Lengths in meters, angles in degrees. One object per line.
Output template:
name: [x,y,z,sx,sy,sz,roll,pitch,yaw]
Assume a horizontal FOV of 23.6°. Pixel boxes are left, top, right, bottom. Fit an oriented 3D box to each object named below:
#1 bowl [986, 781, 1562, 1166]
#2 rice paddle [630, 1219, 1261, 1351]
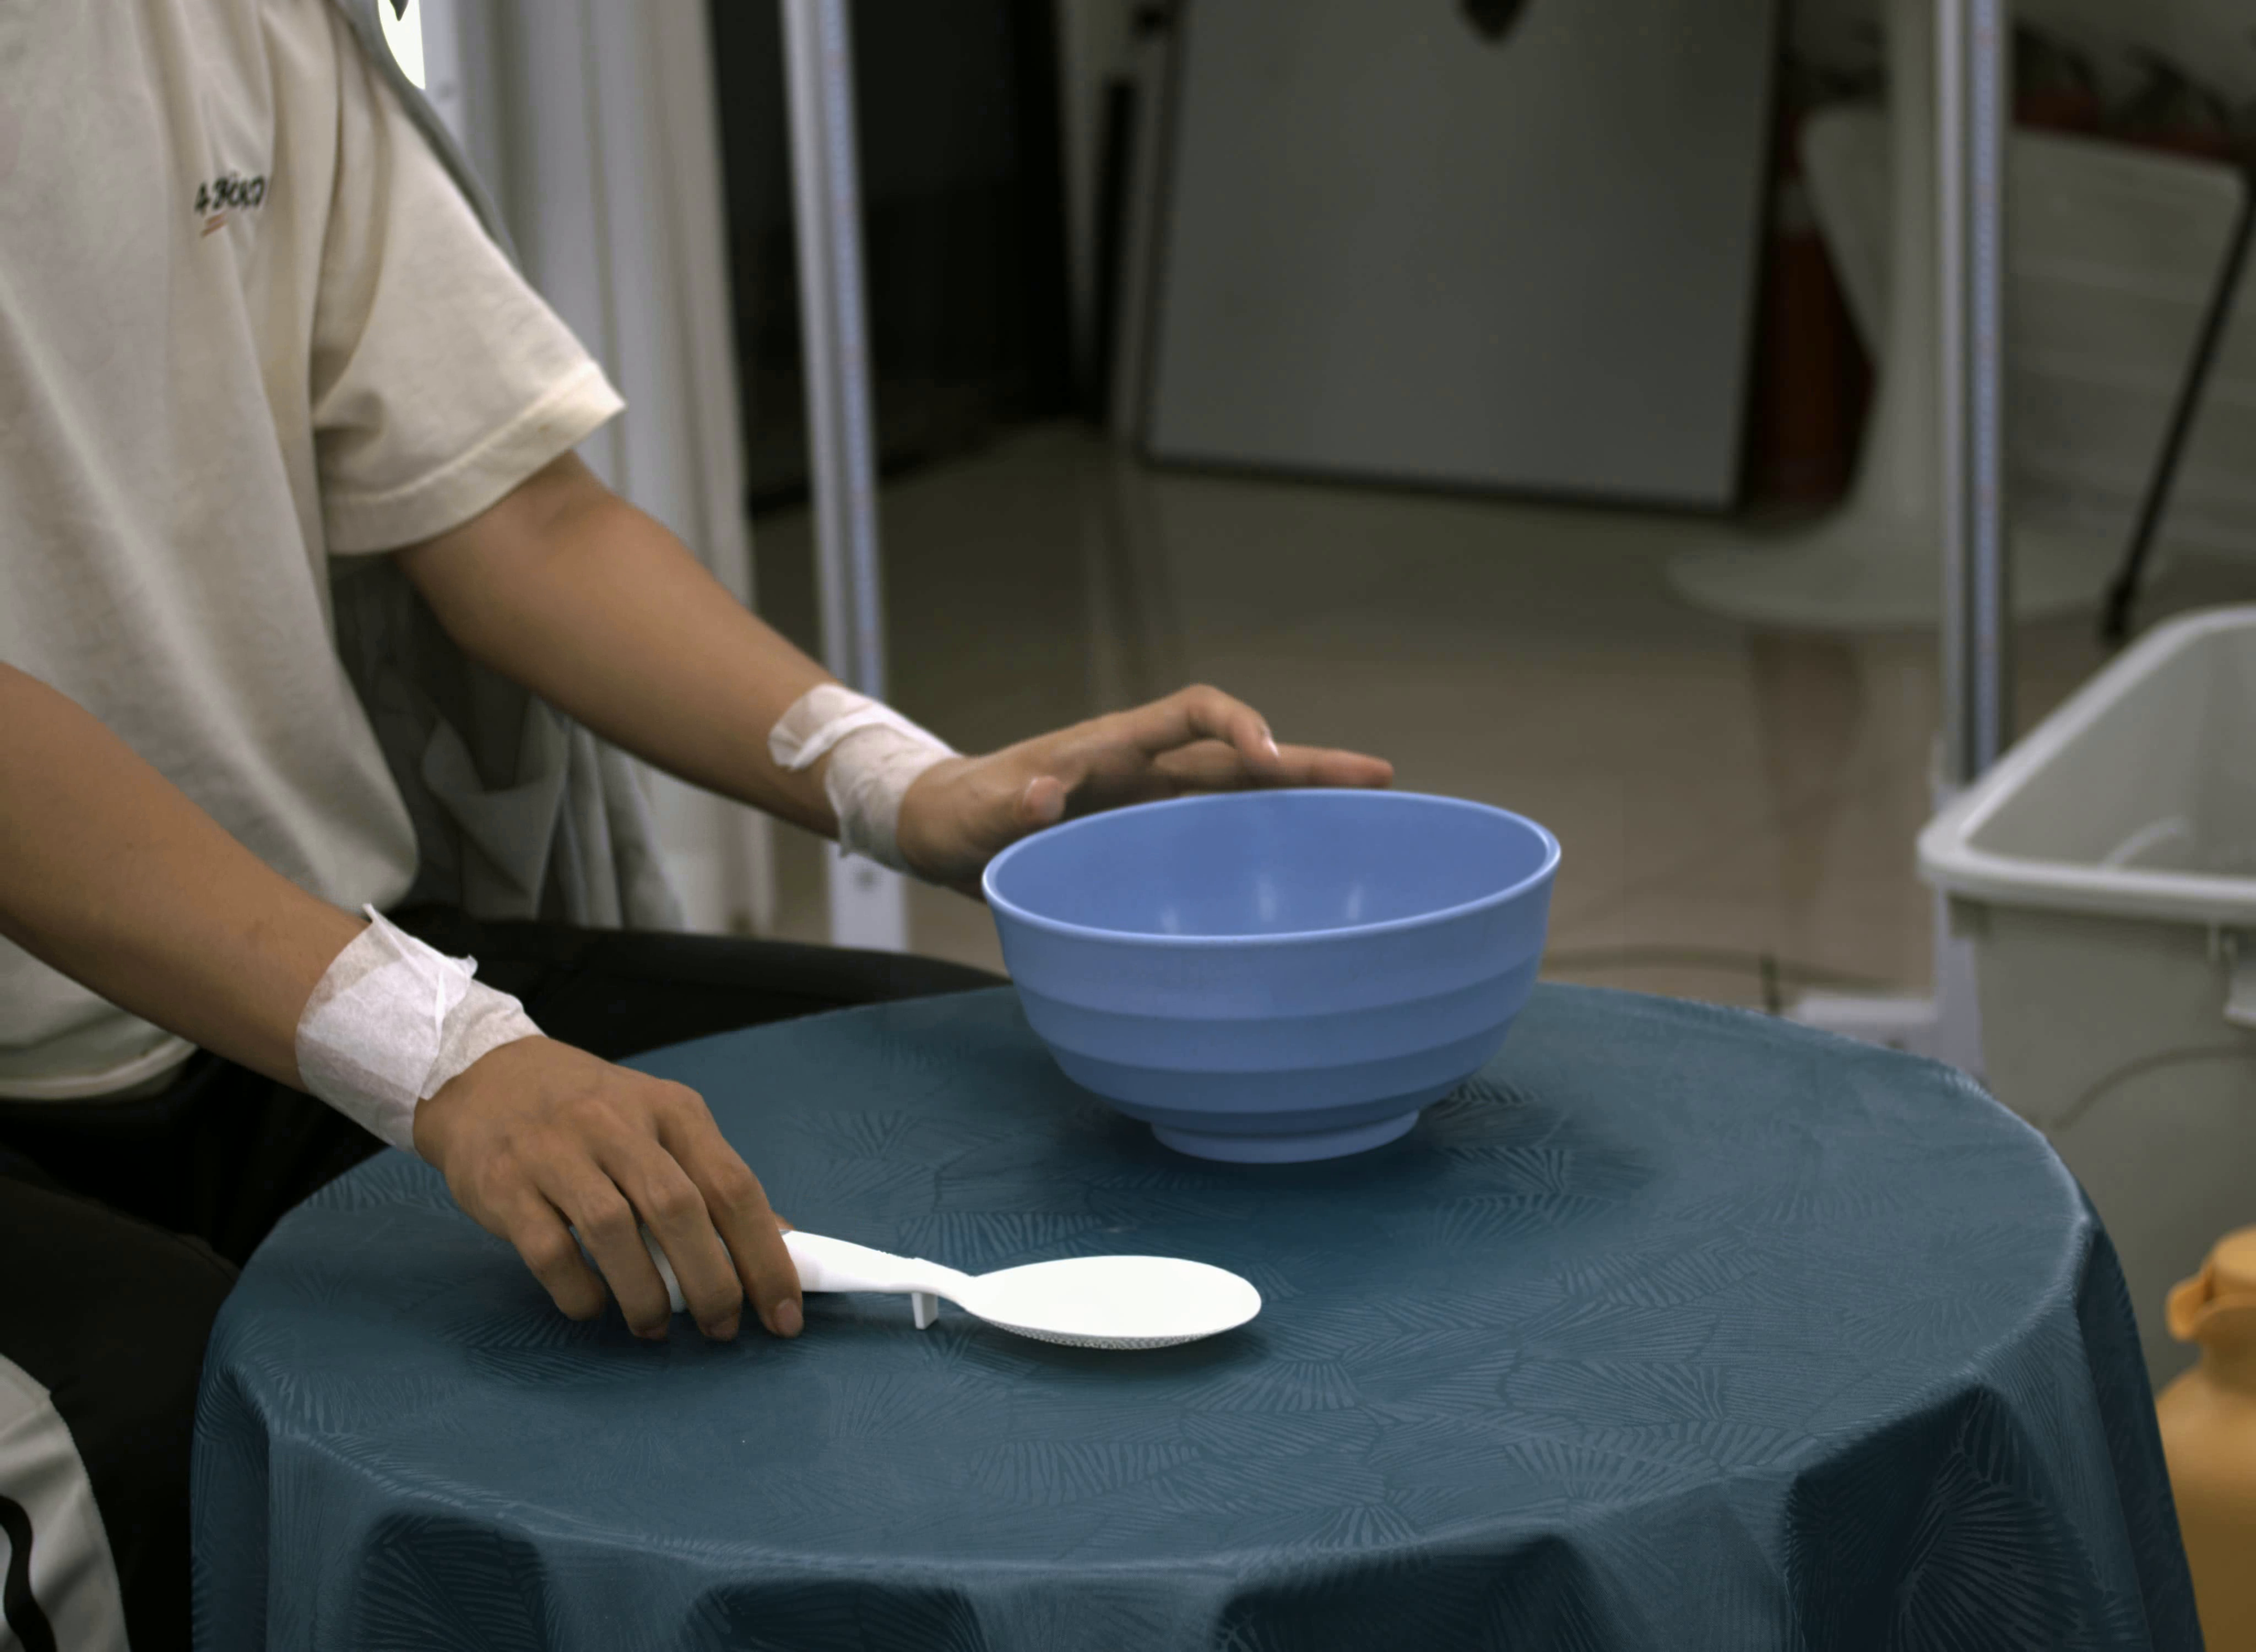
bowl: [0.051,0.055,1.823,0.194,0.096,0.197,-3,15,0]
rice paddle: [-0.055,0.140,1.651,0.205,0.030,0.068,2,16,23]
